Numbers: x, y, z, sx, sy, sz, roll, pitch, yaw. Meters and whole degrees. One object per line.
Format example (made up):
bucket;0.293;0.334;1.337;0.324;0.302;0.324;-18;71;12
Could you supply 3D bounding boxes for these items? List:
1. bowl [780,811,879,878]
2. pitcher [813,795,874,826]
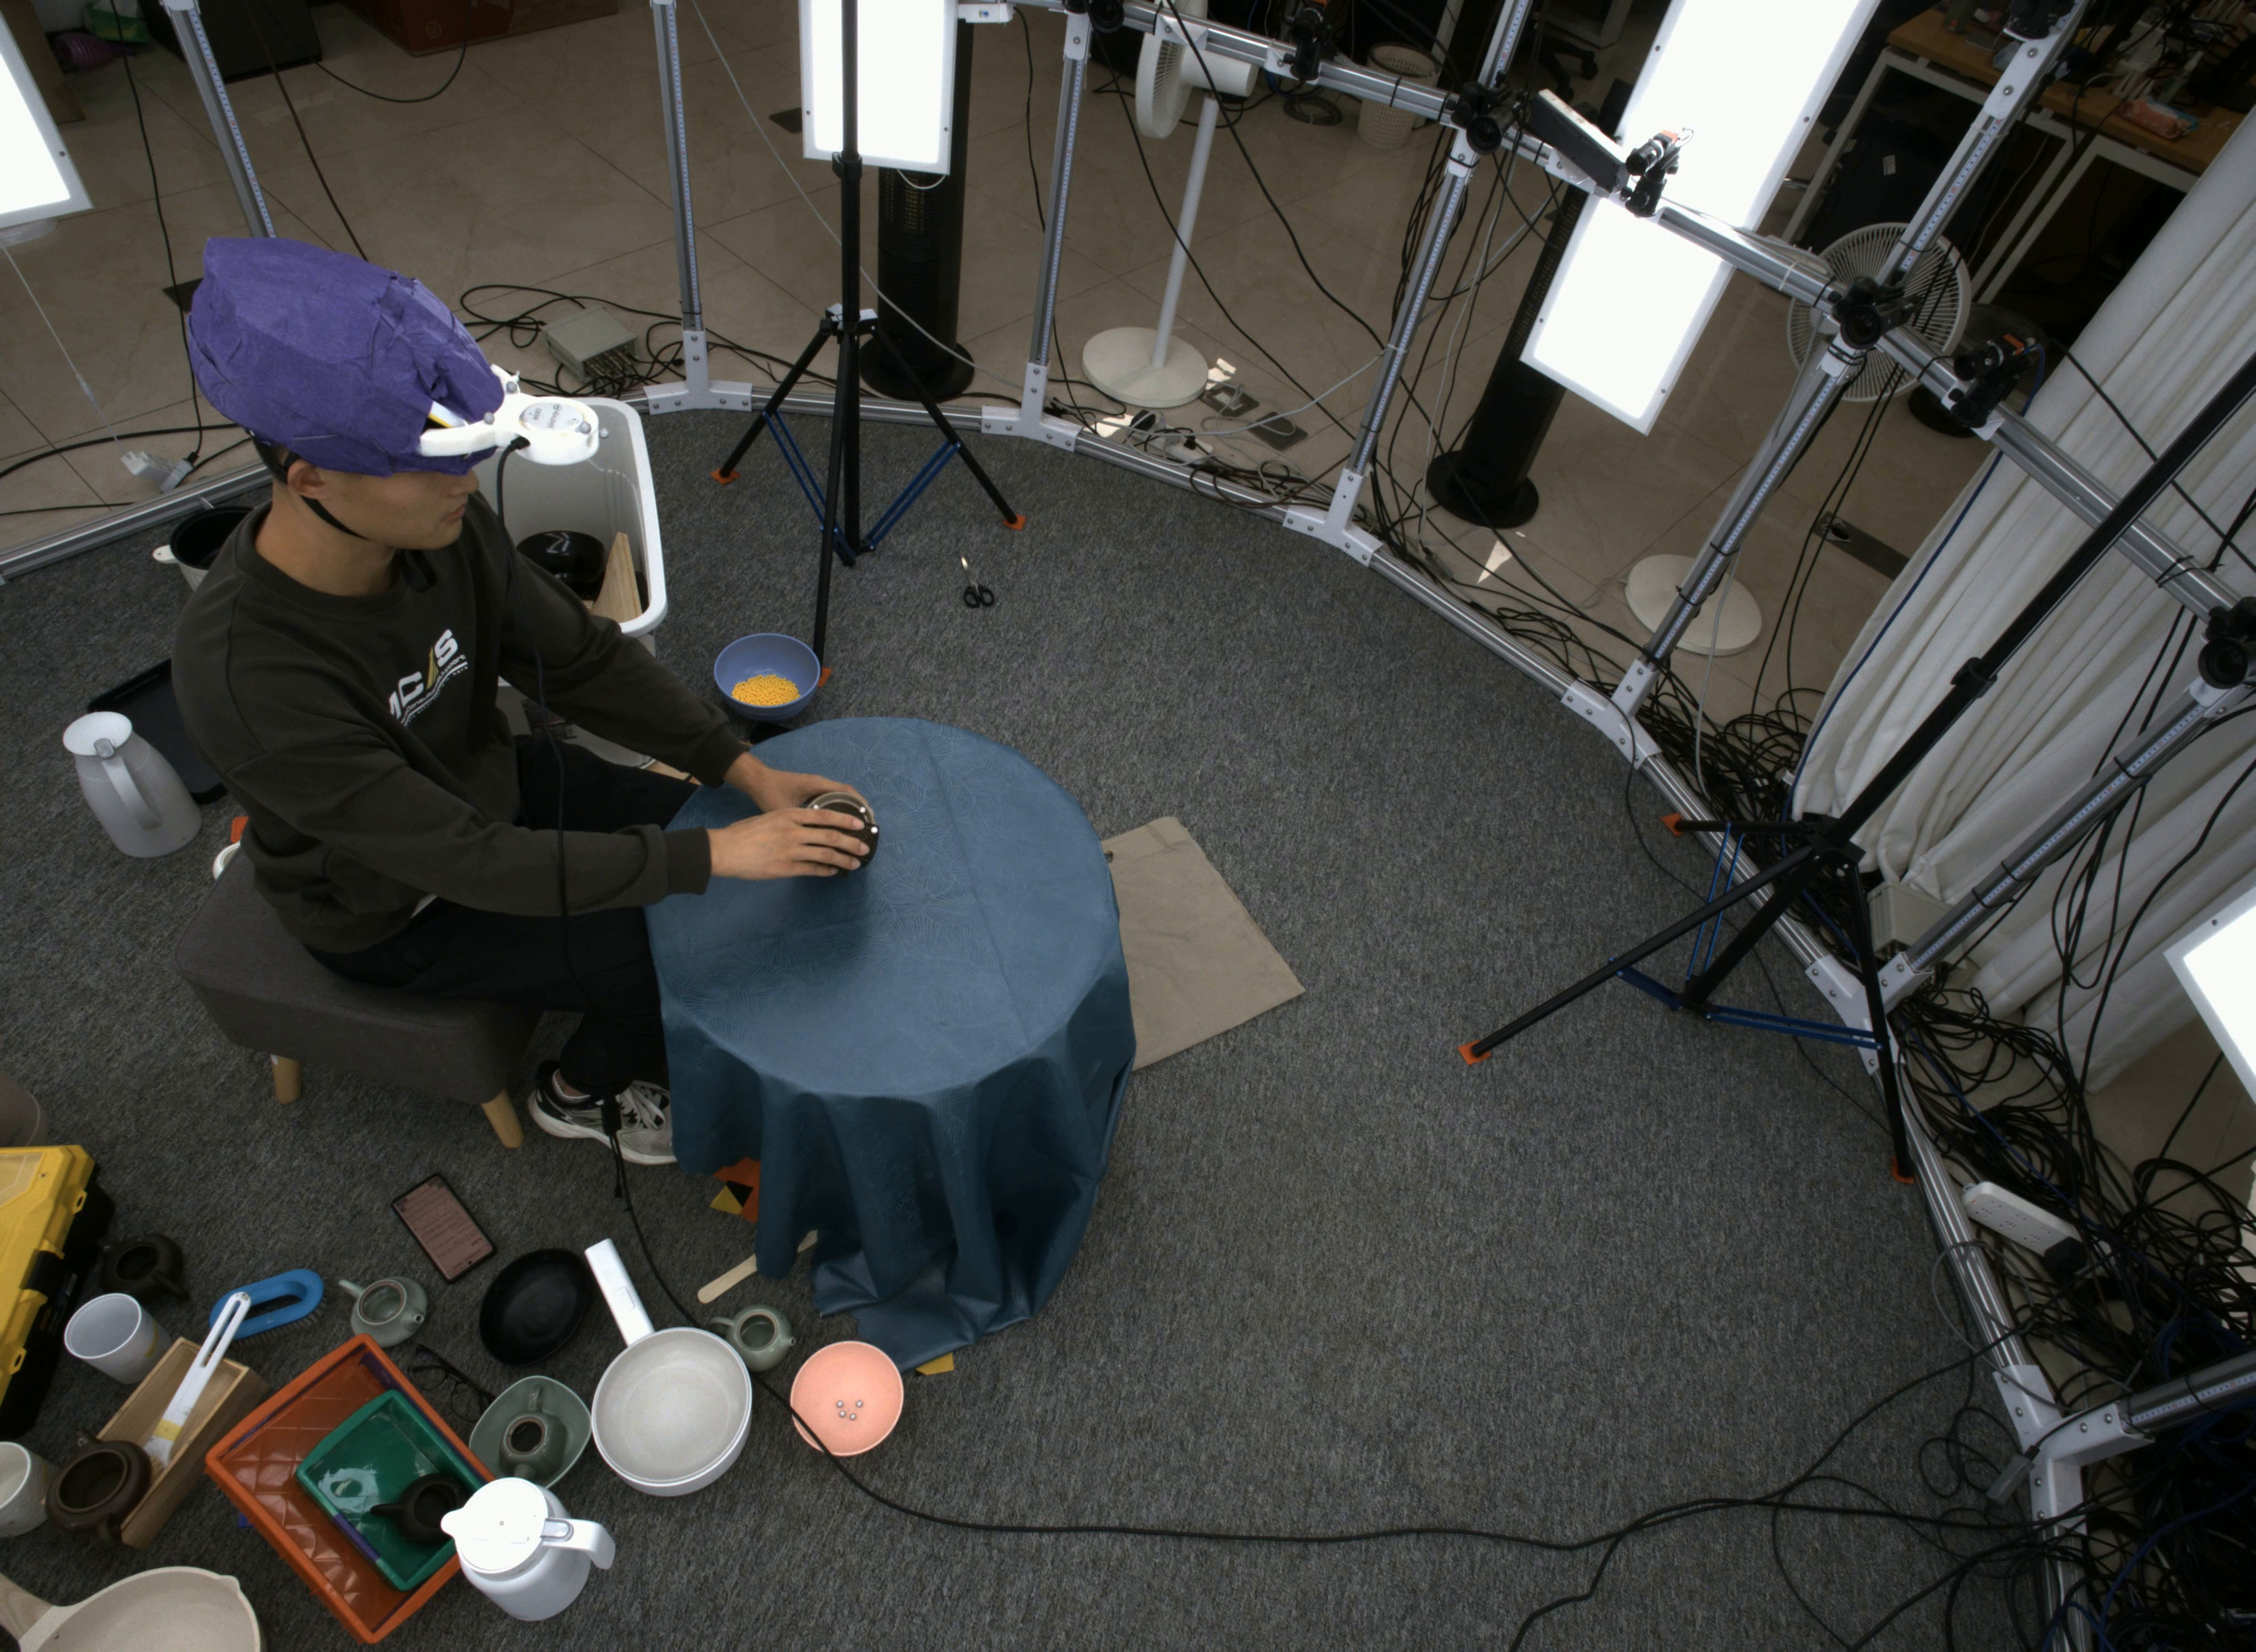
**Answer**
bowl;-0.367;0.024;1.588;0.117;0.117;0.070;7;85;-6
pitcher;-0.371;0.014;1.684;0.083;0.072;0.095;17;68;-3
